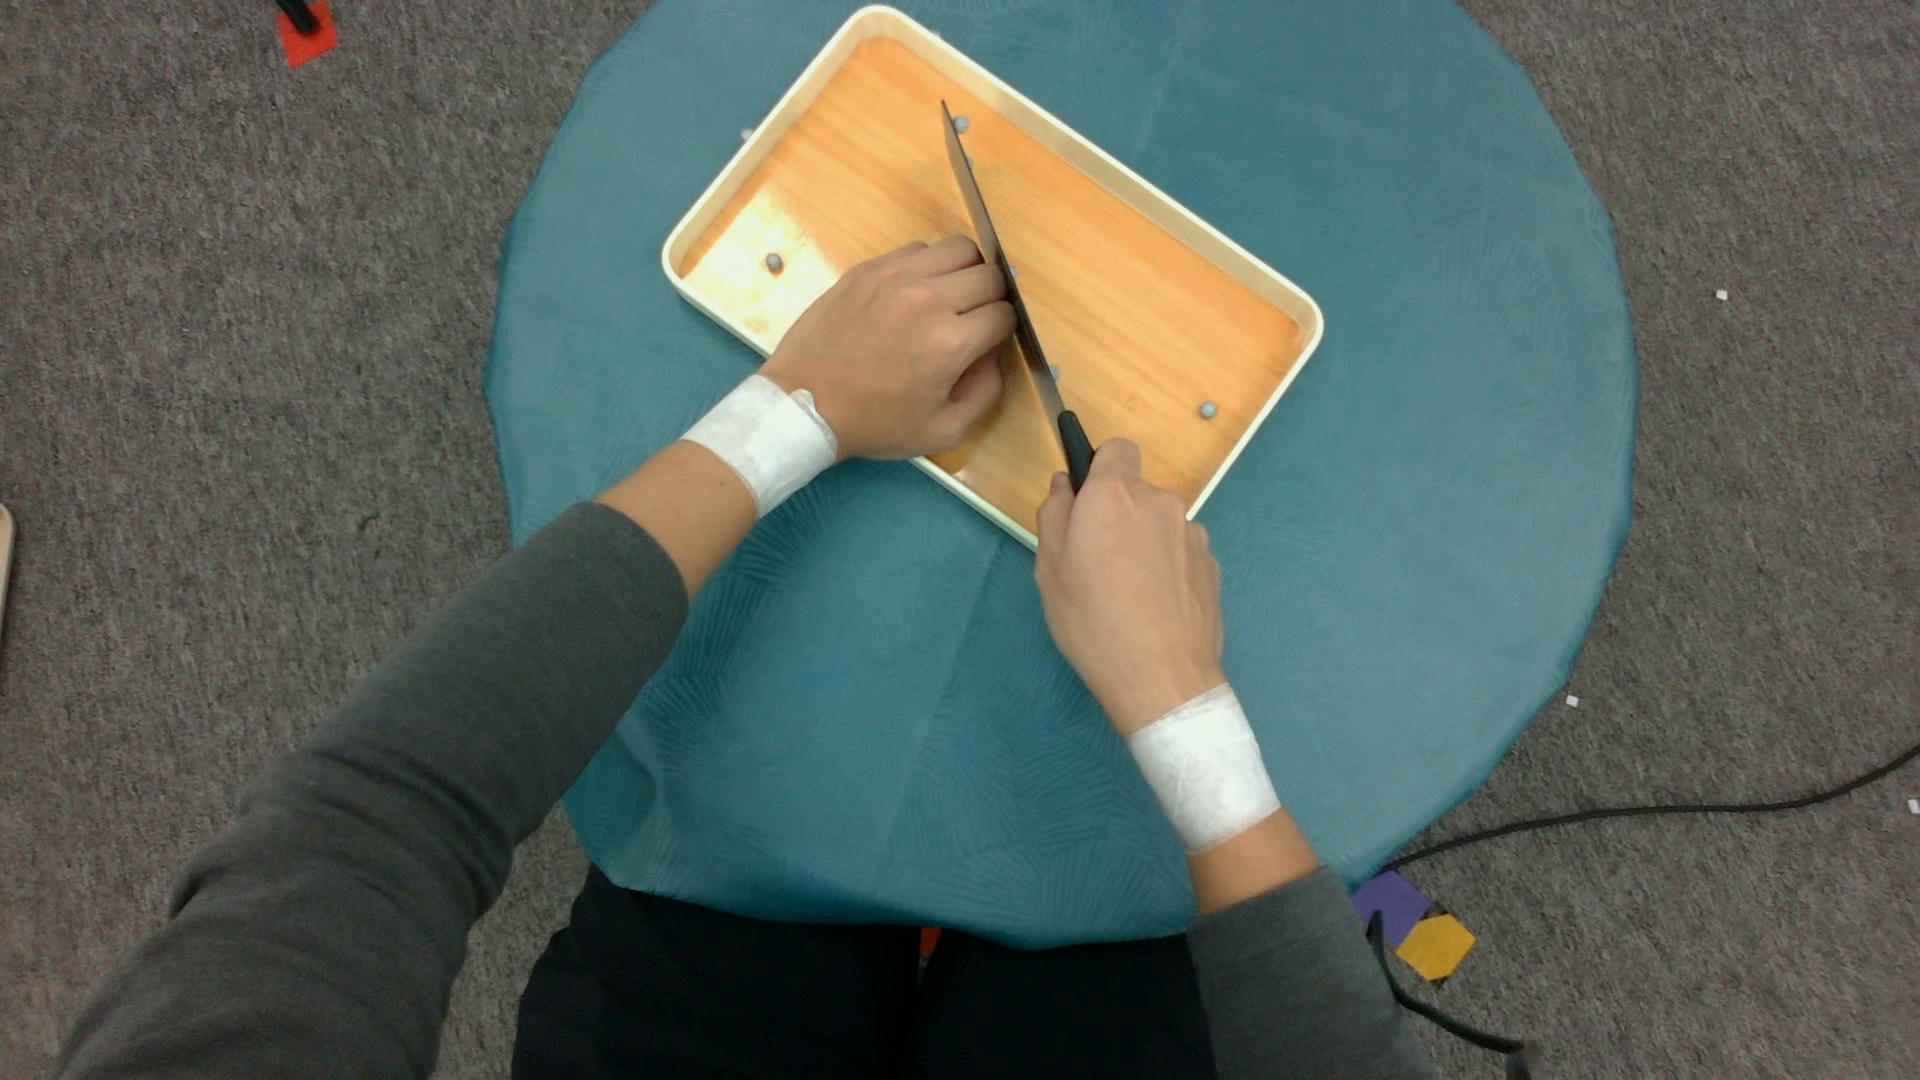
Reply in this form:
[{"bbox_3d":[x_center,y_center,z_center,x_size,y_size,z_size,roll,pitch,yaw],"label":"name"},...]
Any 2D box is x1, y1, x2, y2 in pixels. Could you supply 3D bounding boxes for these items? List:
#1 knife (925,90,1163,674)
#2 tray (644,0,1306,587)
[{"bbox_3d":[0.034,-0.078,0.669,0.021,0.081,0.303,-20,75,-1],"label":"knife"},{"bbox_3d":[0.008,-0.131,0.713,0.300,0.027,0.192,36,80,5],"label":"tray"}]
